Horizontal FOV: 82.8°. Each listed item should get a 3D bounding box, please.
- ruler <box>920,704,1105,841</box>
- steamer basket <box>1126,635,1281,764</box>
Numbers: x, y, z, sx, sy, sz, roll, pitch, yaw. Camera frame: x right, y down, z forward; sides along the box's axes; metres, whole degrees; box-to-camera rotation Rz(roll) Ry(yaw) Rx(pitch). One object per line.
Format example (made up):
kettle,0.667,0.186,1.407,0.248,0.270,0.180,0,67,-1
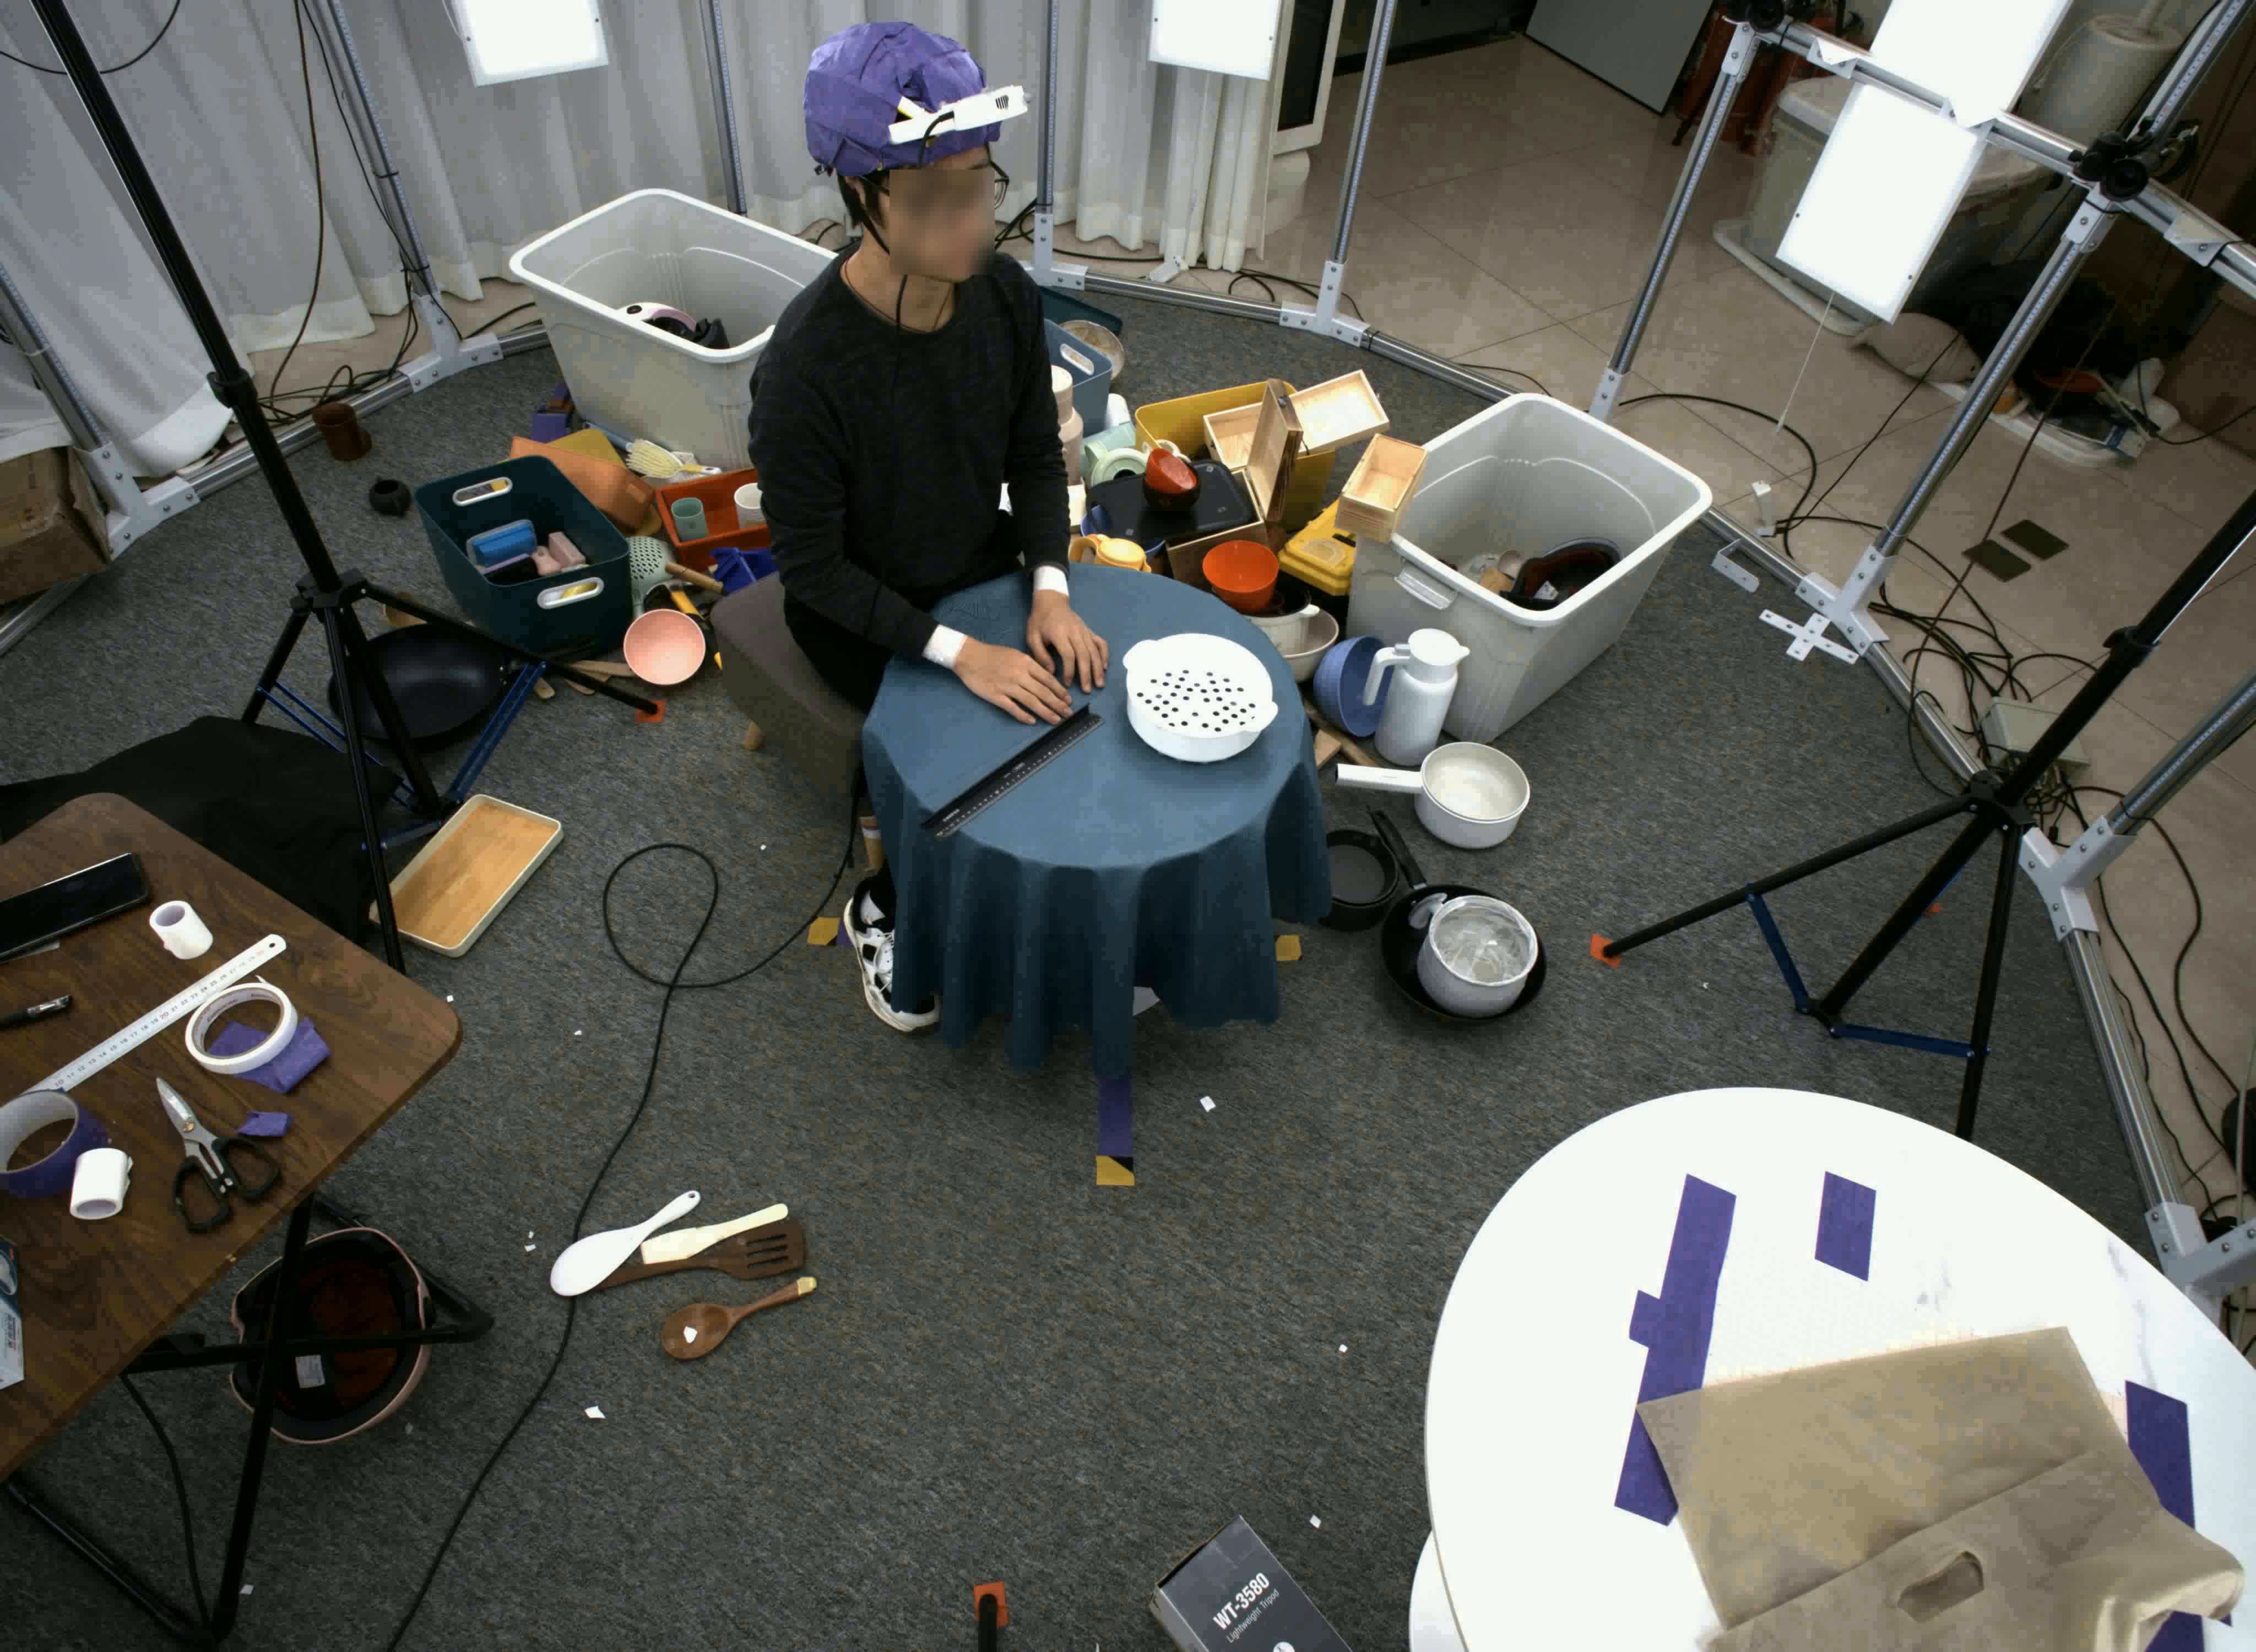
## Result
ruler,-0.149,-0.076,1.716,0.040,0.017,0.315,38,57,21
steamer basket,0.101,-0.176,1.785,0.233,0.067,0.205,30,54,18
